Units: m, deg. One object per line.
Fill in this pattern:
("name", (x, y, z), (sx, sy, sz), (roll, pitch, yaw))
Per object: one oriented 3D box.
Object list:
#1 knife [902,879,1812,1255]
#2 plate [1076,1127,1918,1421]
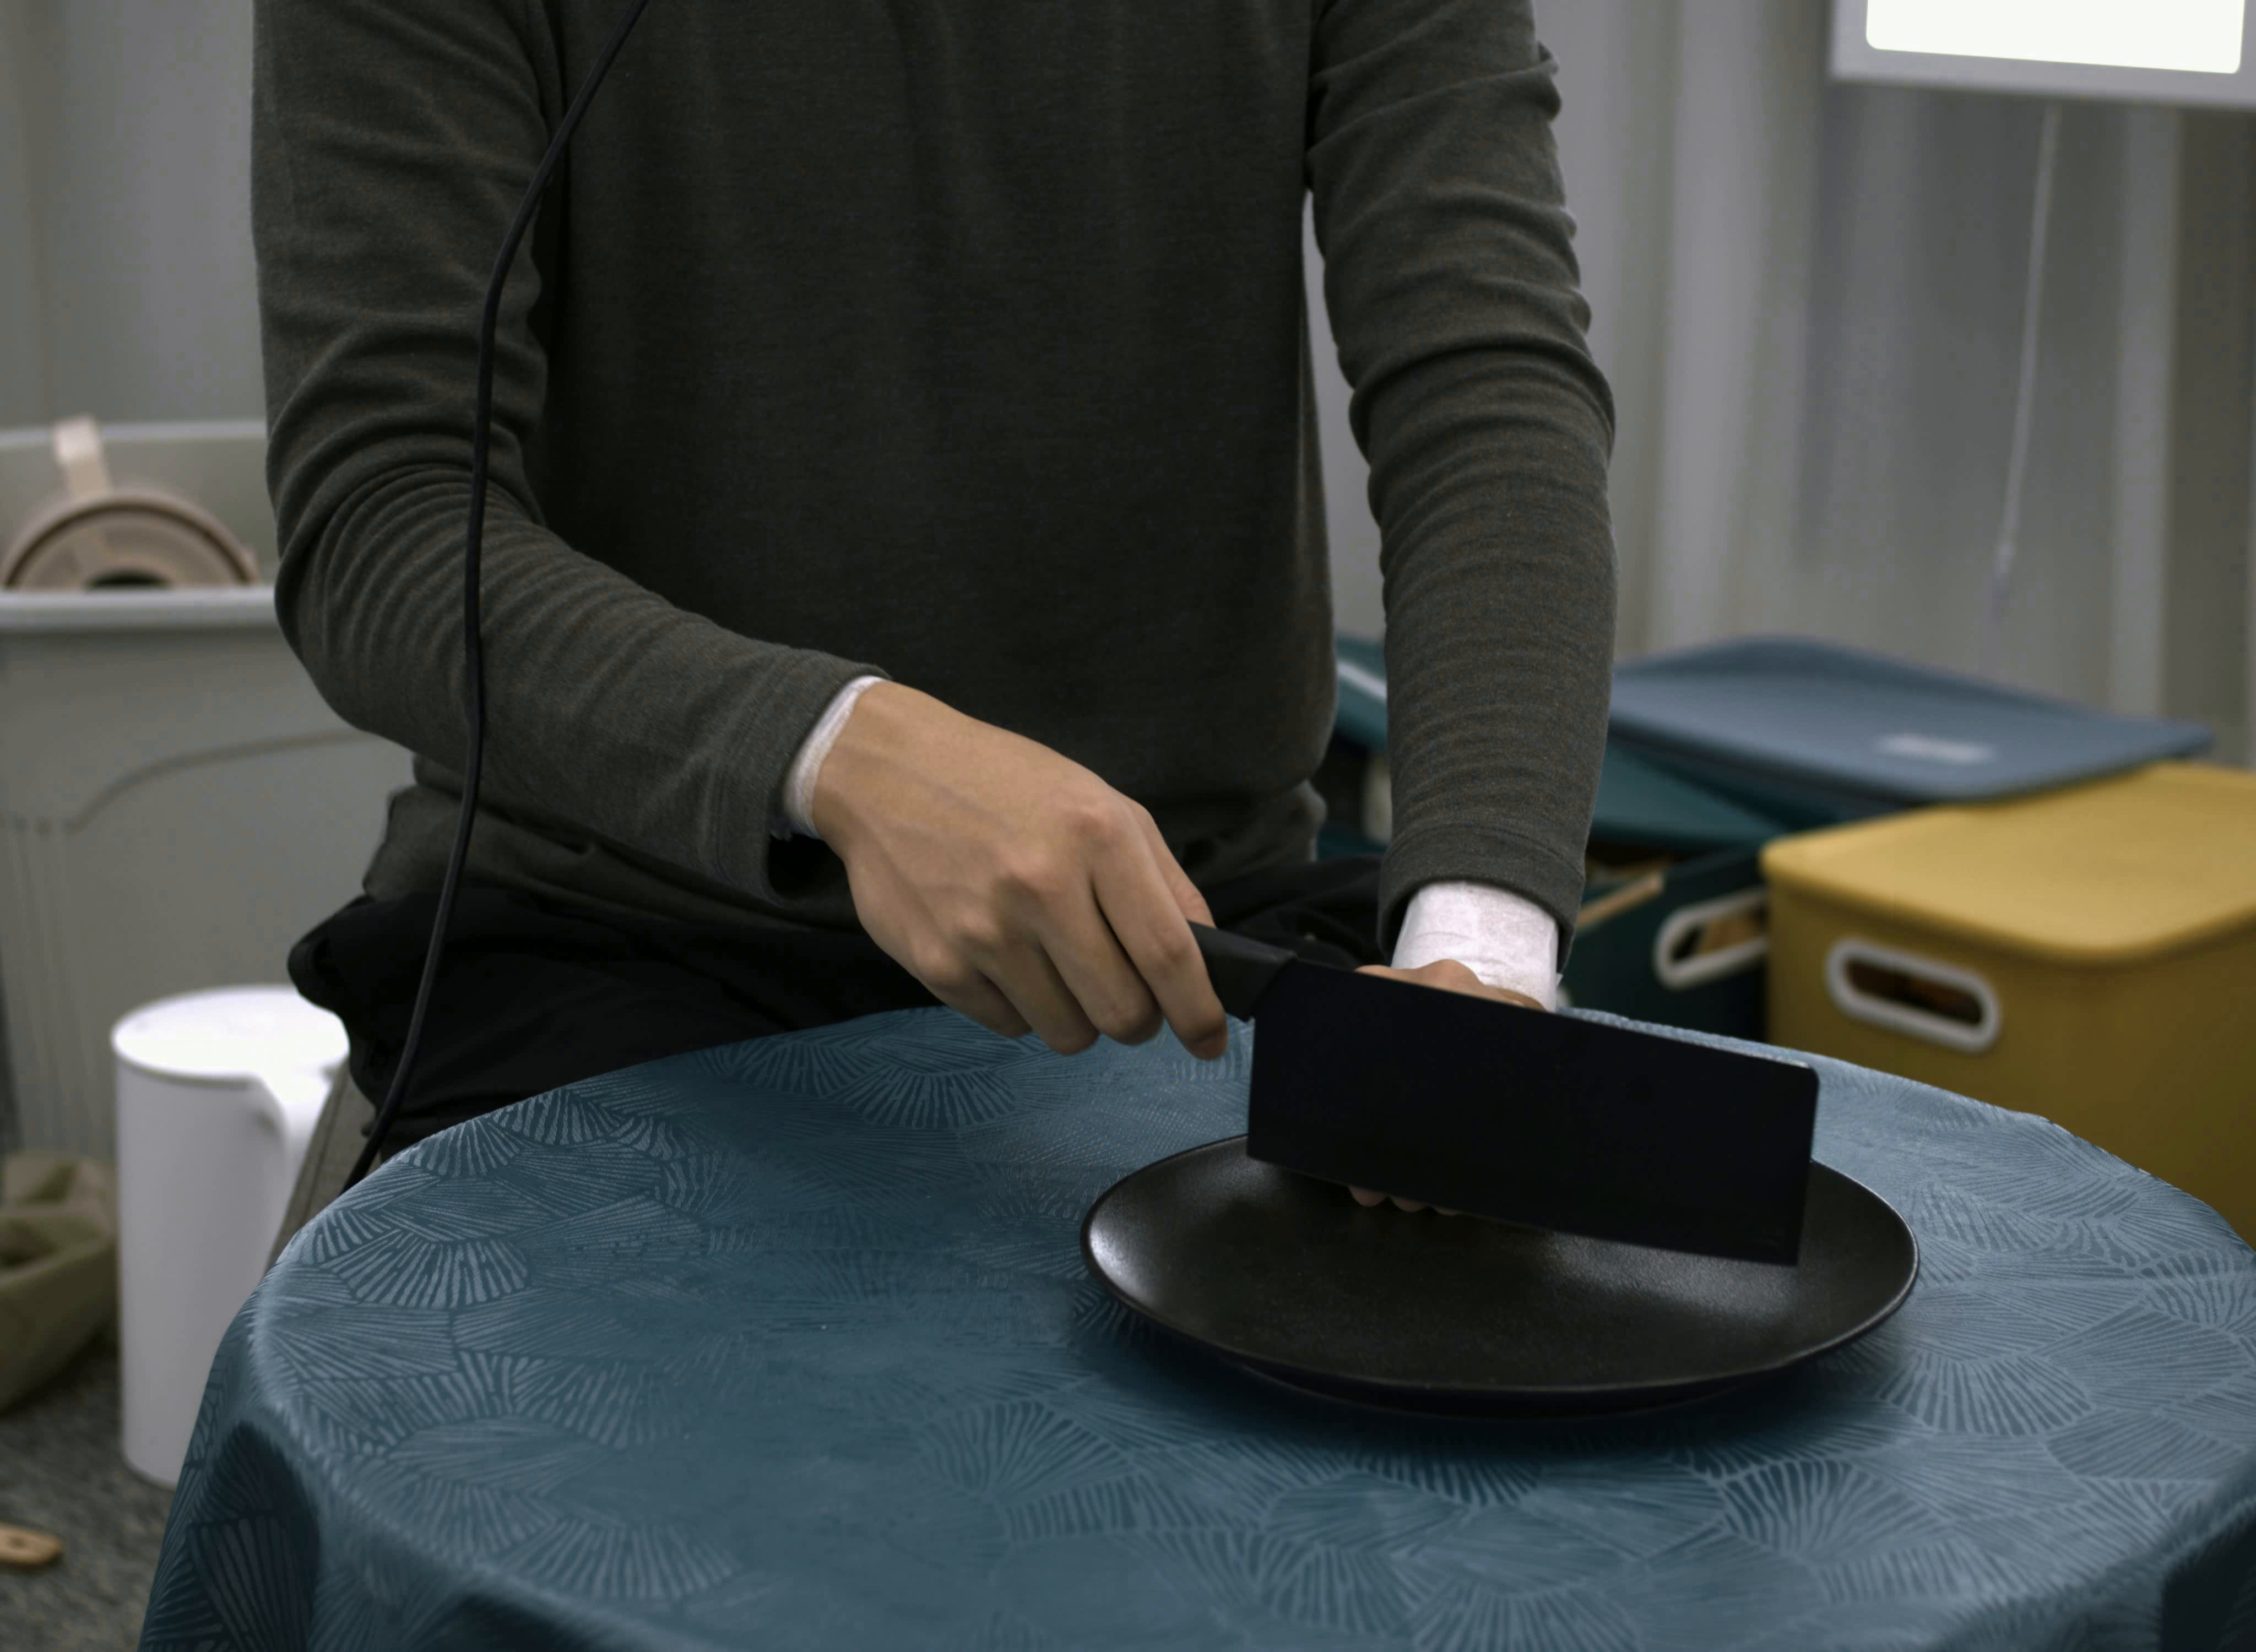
("knife", (0.063, 0.067, 1.568), (0.299, 0.081, 0.021), (16, 17, 25))
("plate", (0.106, 0.129, 1.526), (0.243, 0.023, 0.243), (1, 15, 0))
